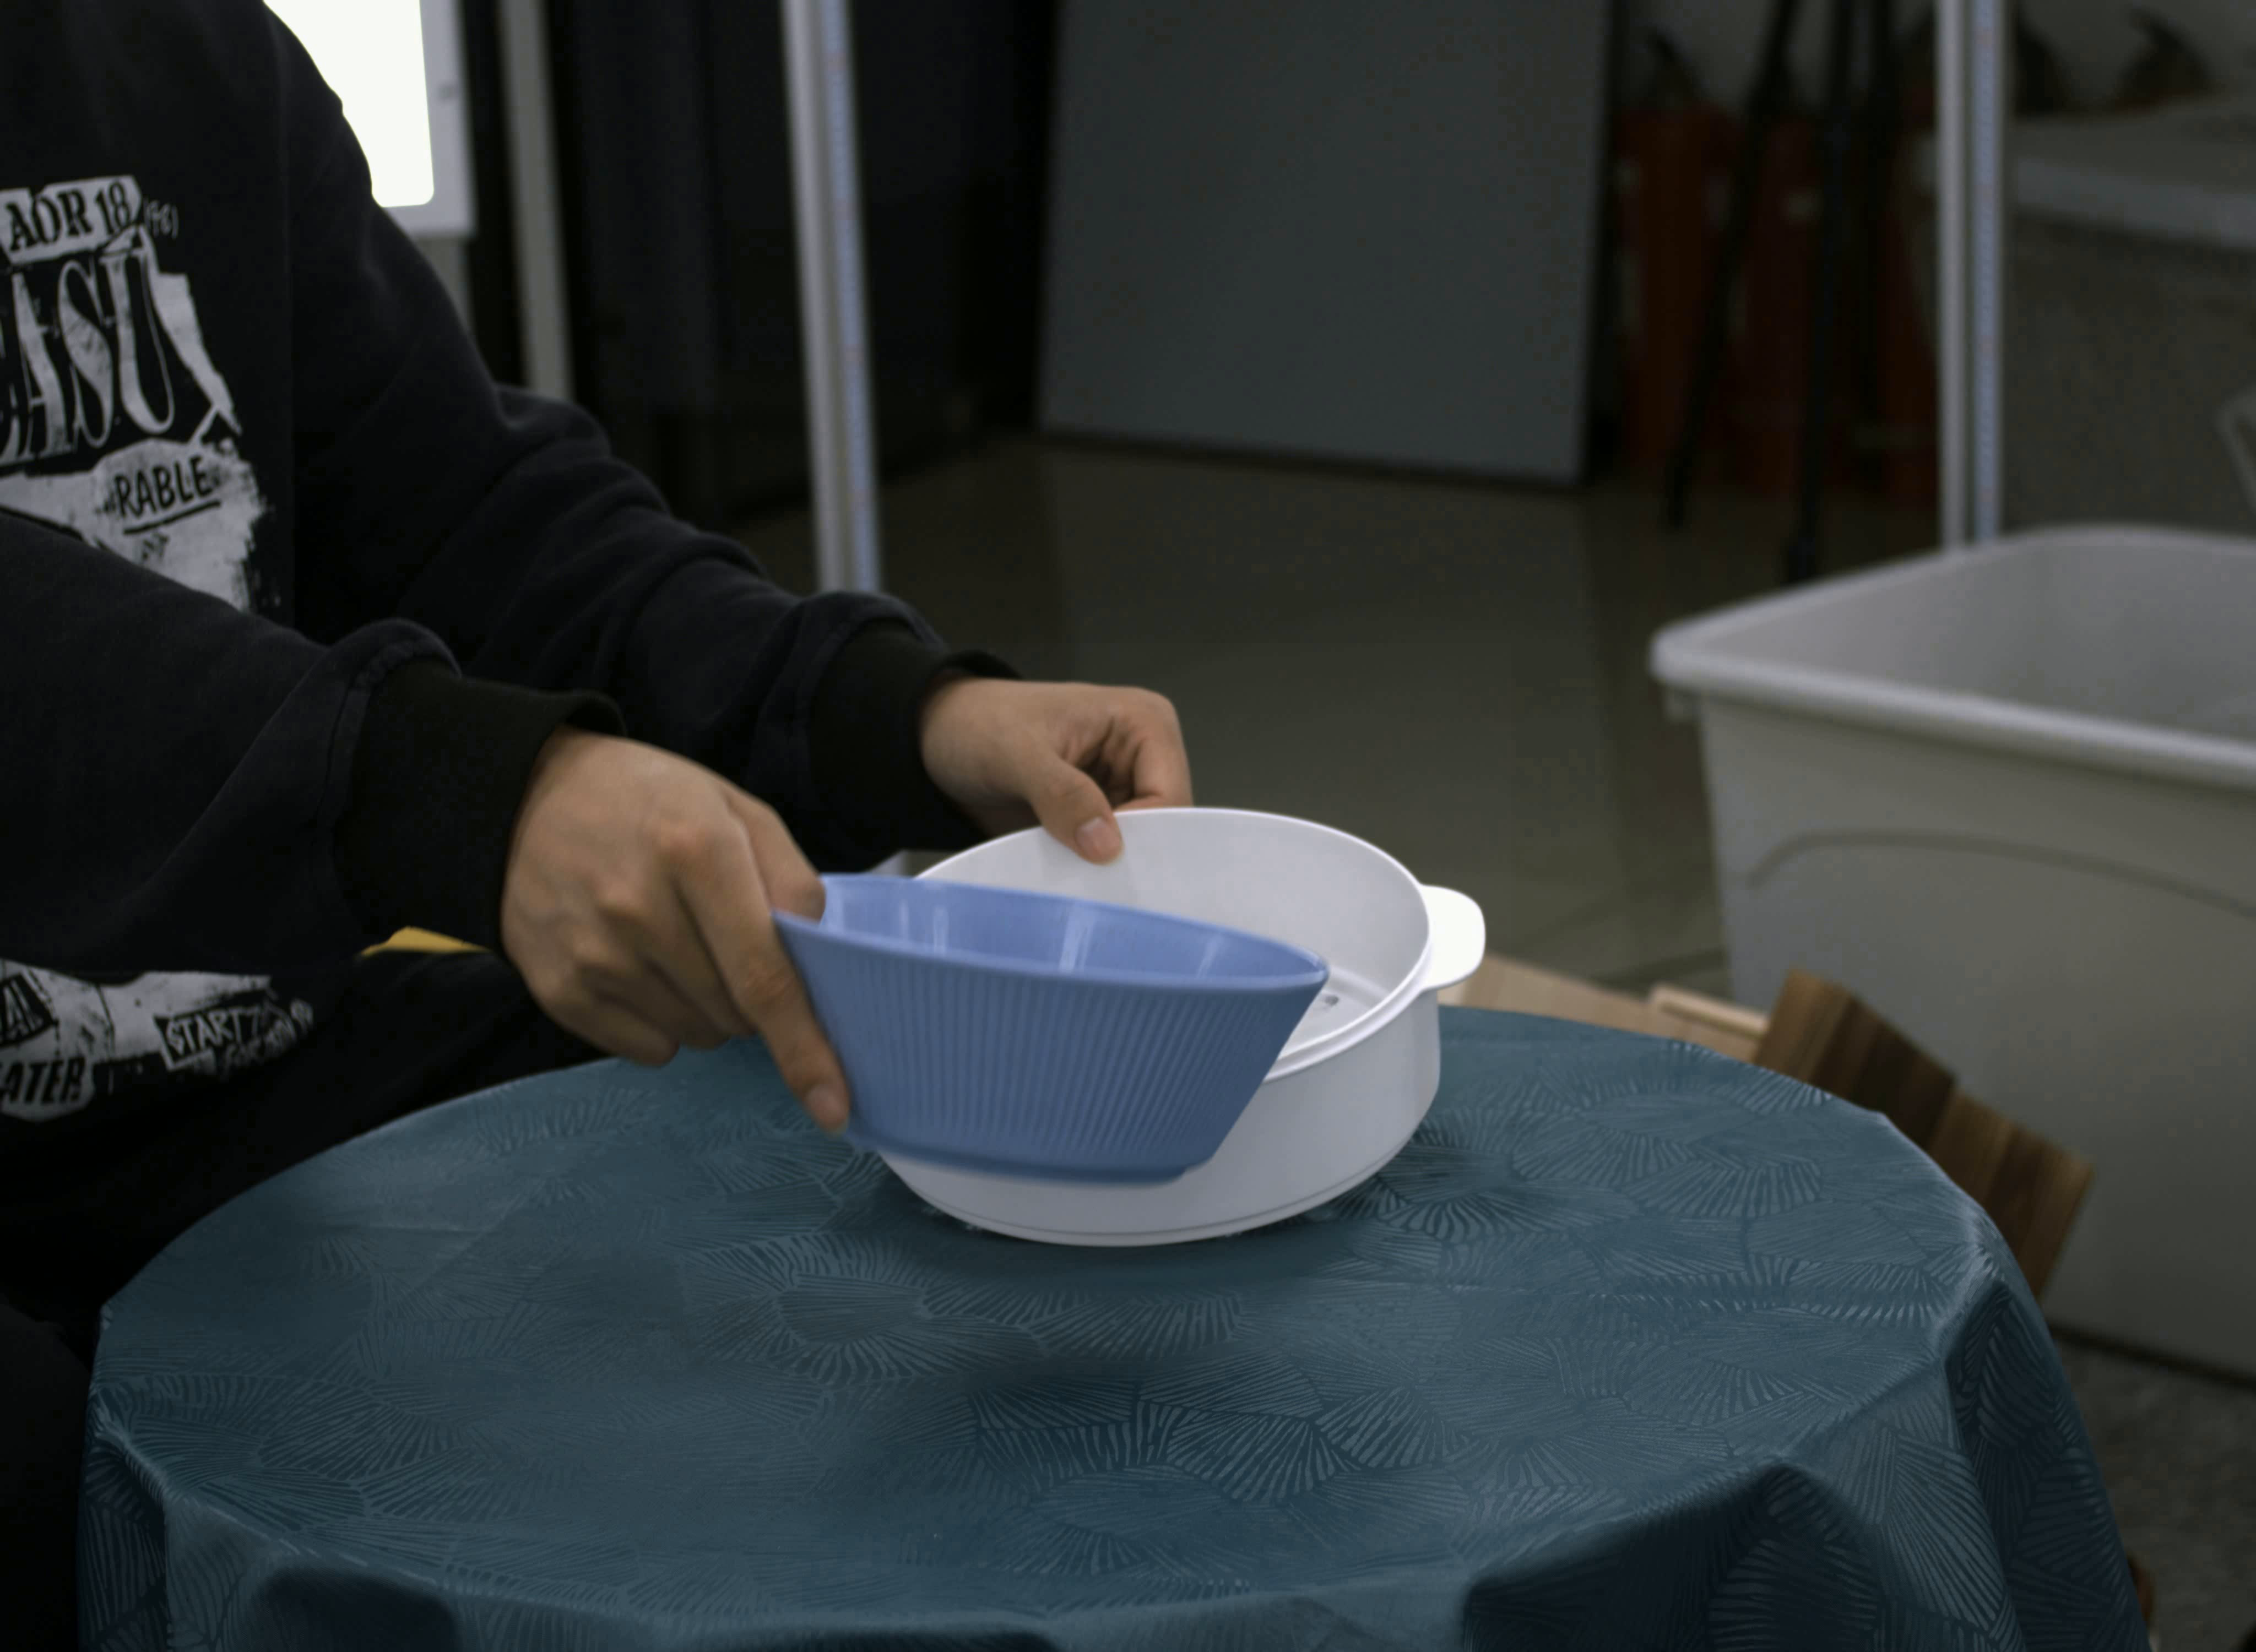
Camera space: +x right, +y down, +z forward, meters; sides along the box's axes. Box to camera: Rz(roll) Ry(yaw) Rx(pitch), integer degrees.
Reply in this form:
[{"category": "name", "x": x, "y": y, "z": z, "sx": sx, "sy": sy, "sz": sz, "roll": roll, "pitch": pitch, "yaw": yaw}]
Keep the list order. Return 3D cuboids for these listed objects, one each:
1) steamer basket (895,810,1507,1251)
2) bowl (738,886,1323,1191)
[{"category": "steamer basket", "x": 0.012, "y": 0.067, "z": 1.784, "sx": 0.228, "sy": 0.070, "sz": 0.202, "roll": -2, "pitch": 26, "yaw": 4}, {"category": "bowl", "x": -0.032, "y": 0.063, "z": 1.585, "sx": 0.174, "sy": 0.071, "sz": 0.176, "roll": 7, "pitch": 5, "yaw": -2}]
